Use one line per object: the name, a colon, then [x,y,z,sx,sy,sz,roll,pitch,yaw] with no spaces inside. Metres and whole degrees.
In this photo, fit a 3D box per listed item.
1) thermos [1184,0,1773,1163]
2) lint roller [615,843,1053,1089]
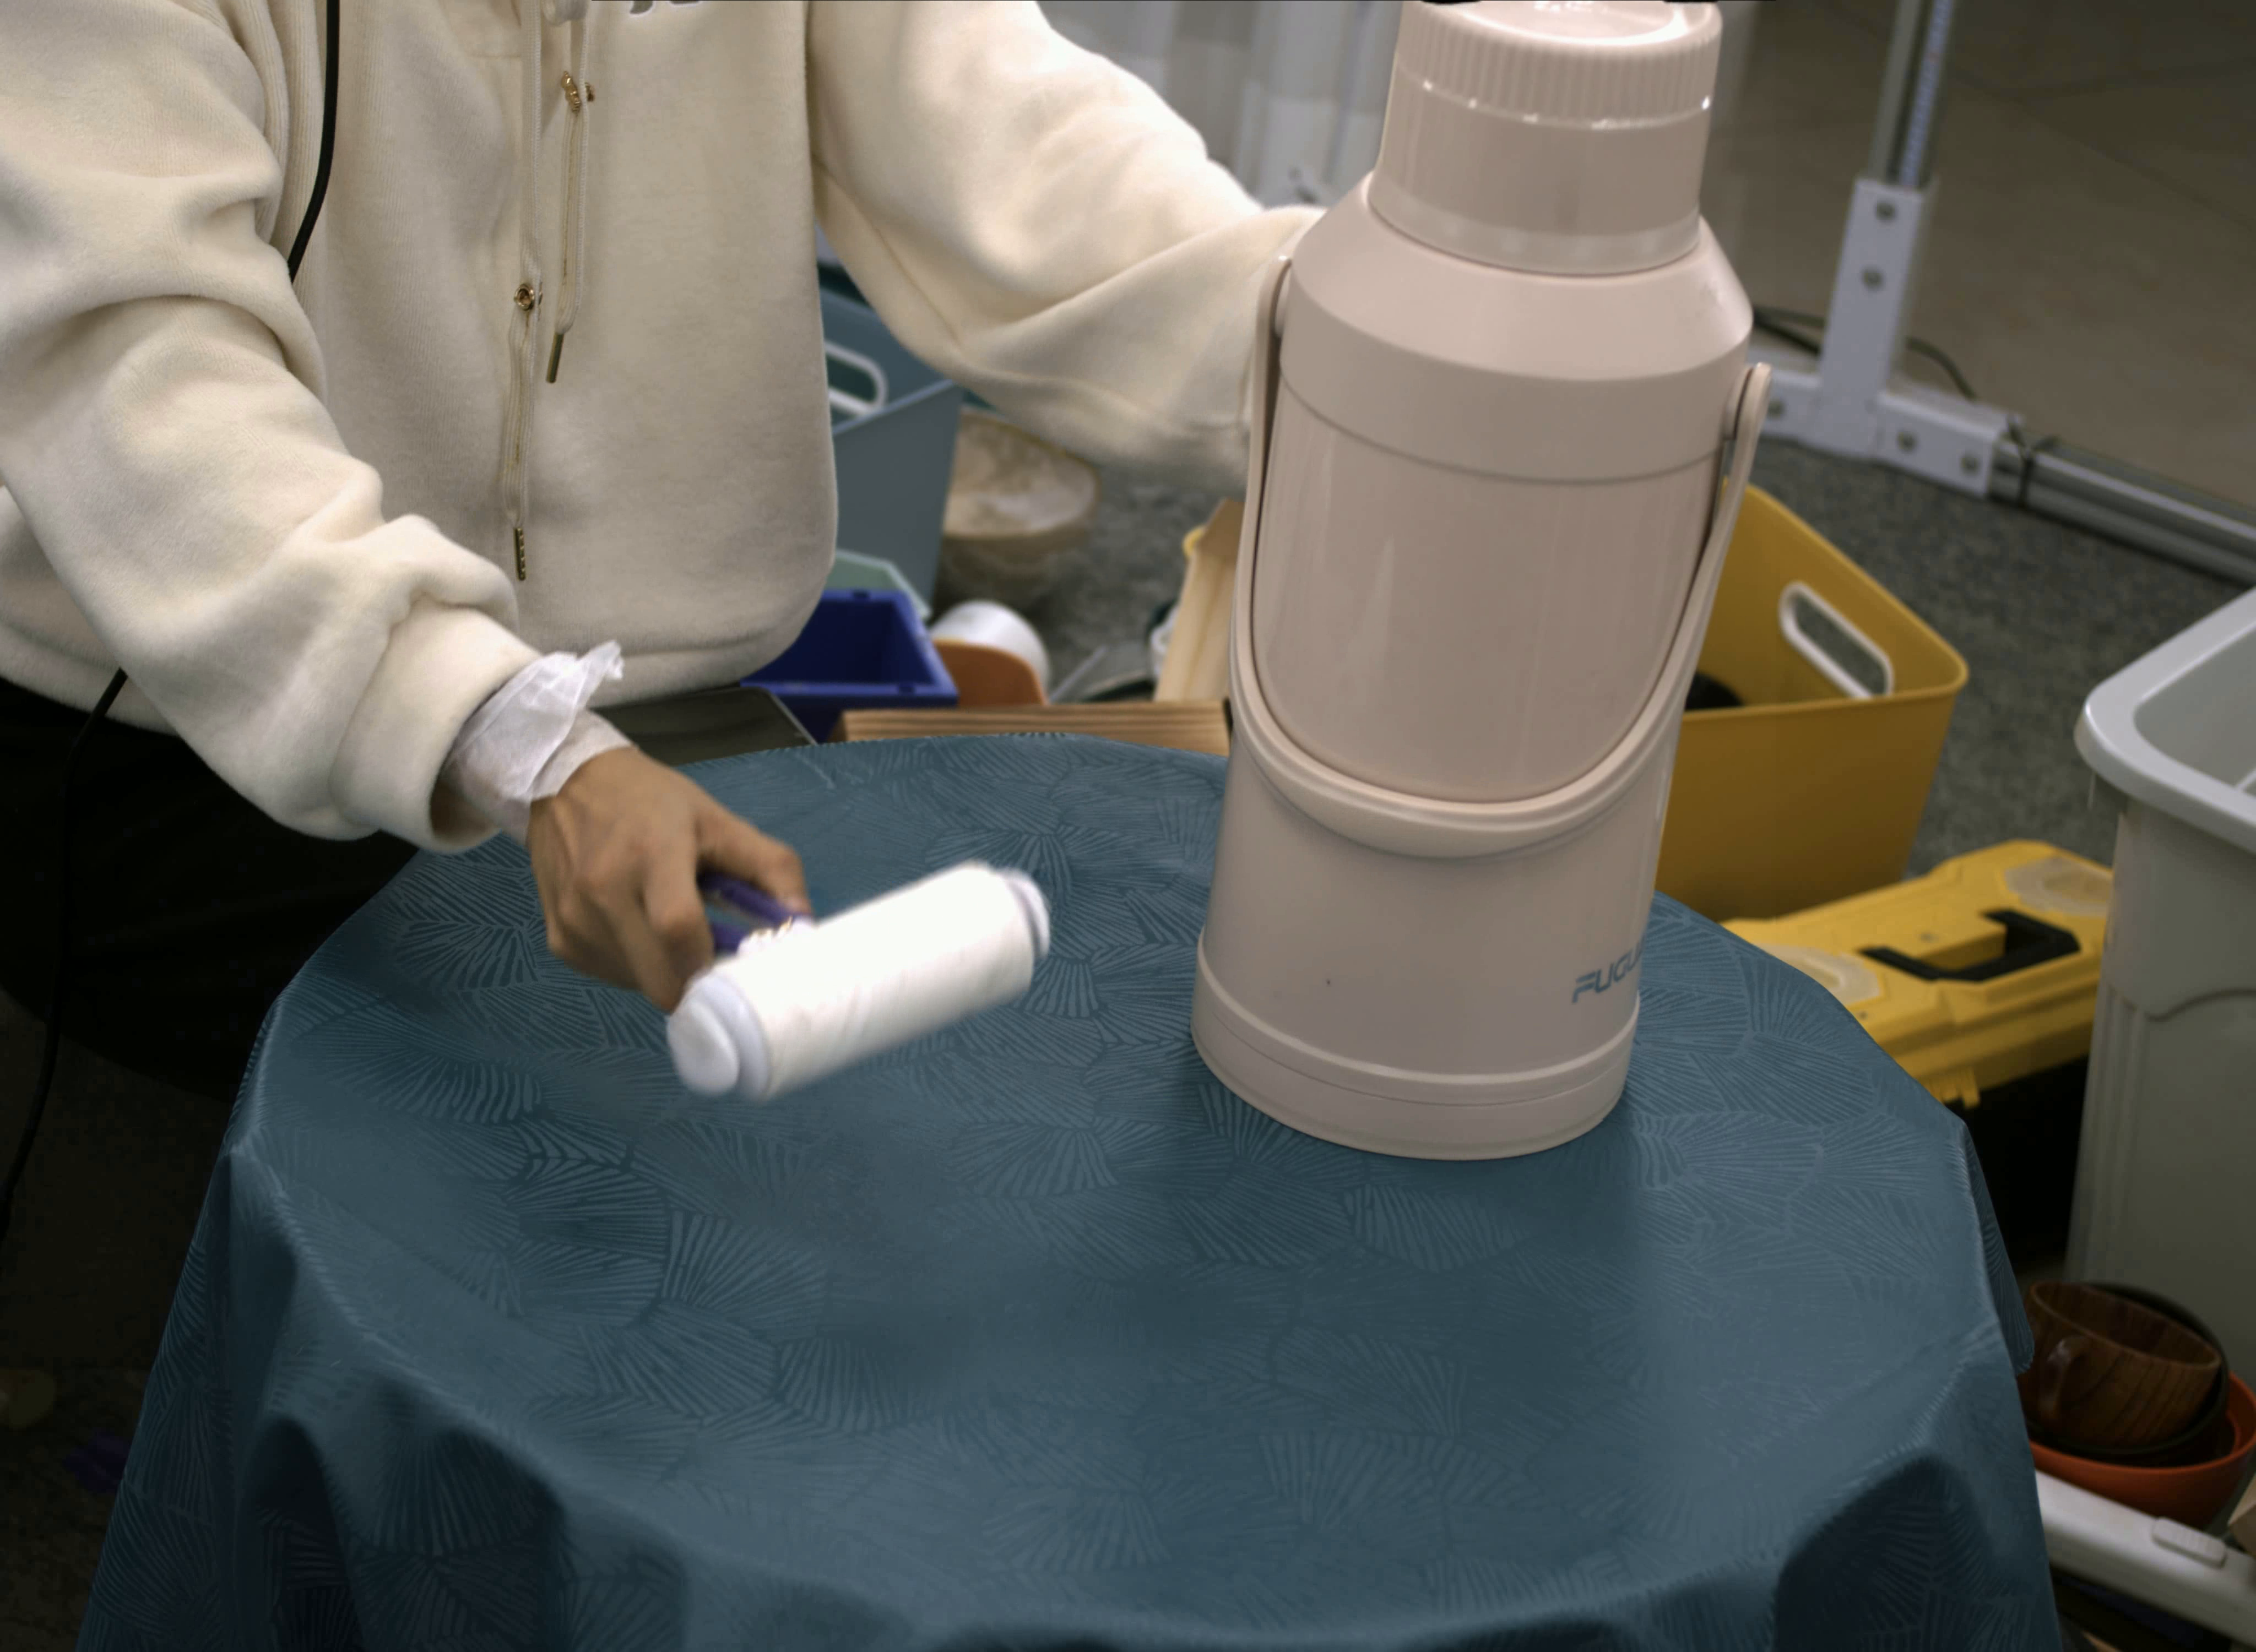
thermos: [0.126,-0.100,1.834,0.175,0.405,0.207,13,27,14]
lint roller: [-0.118,0.024,1.747,0.132,0.050,0.182,-22,31,-26]
